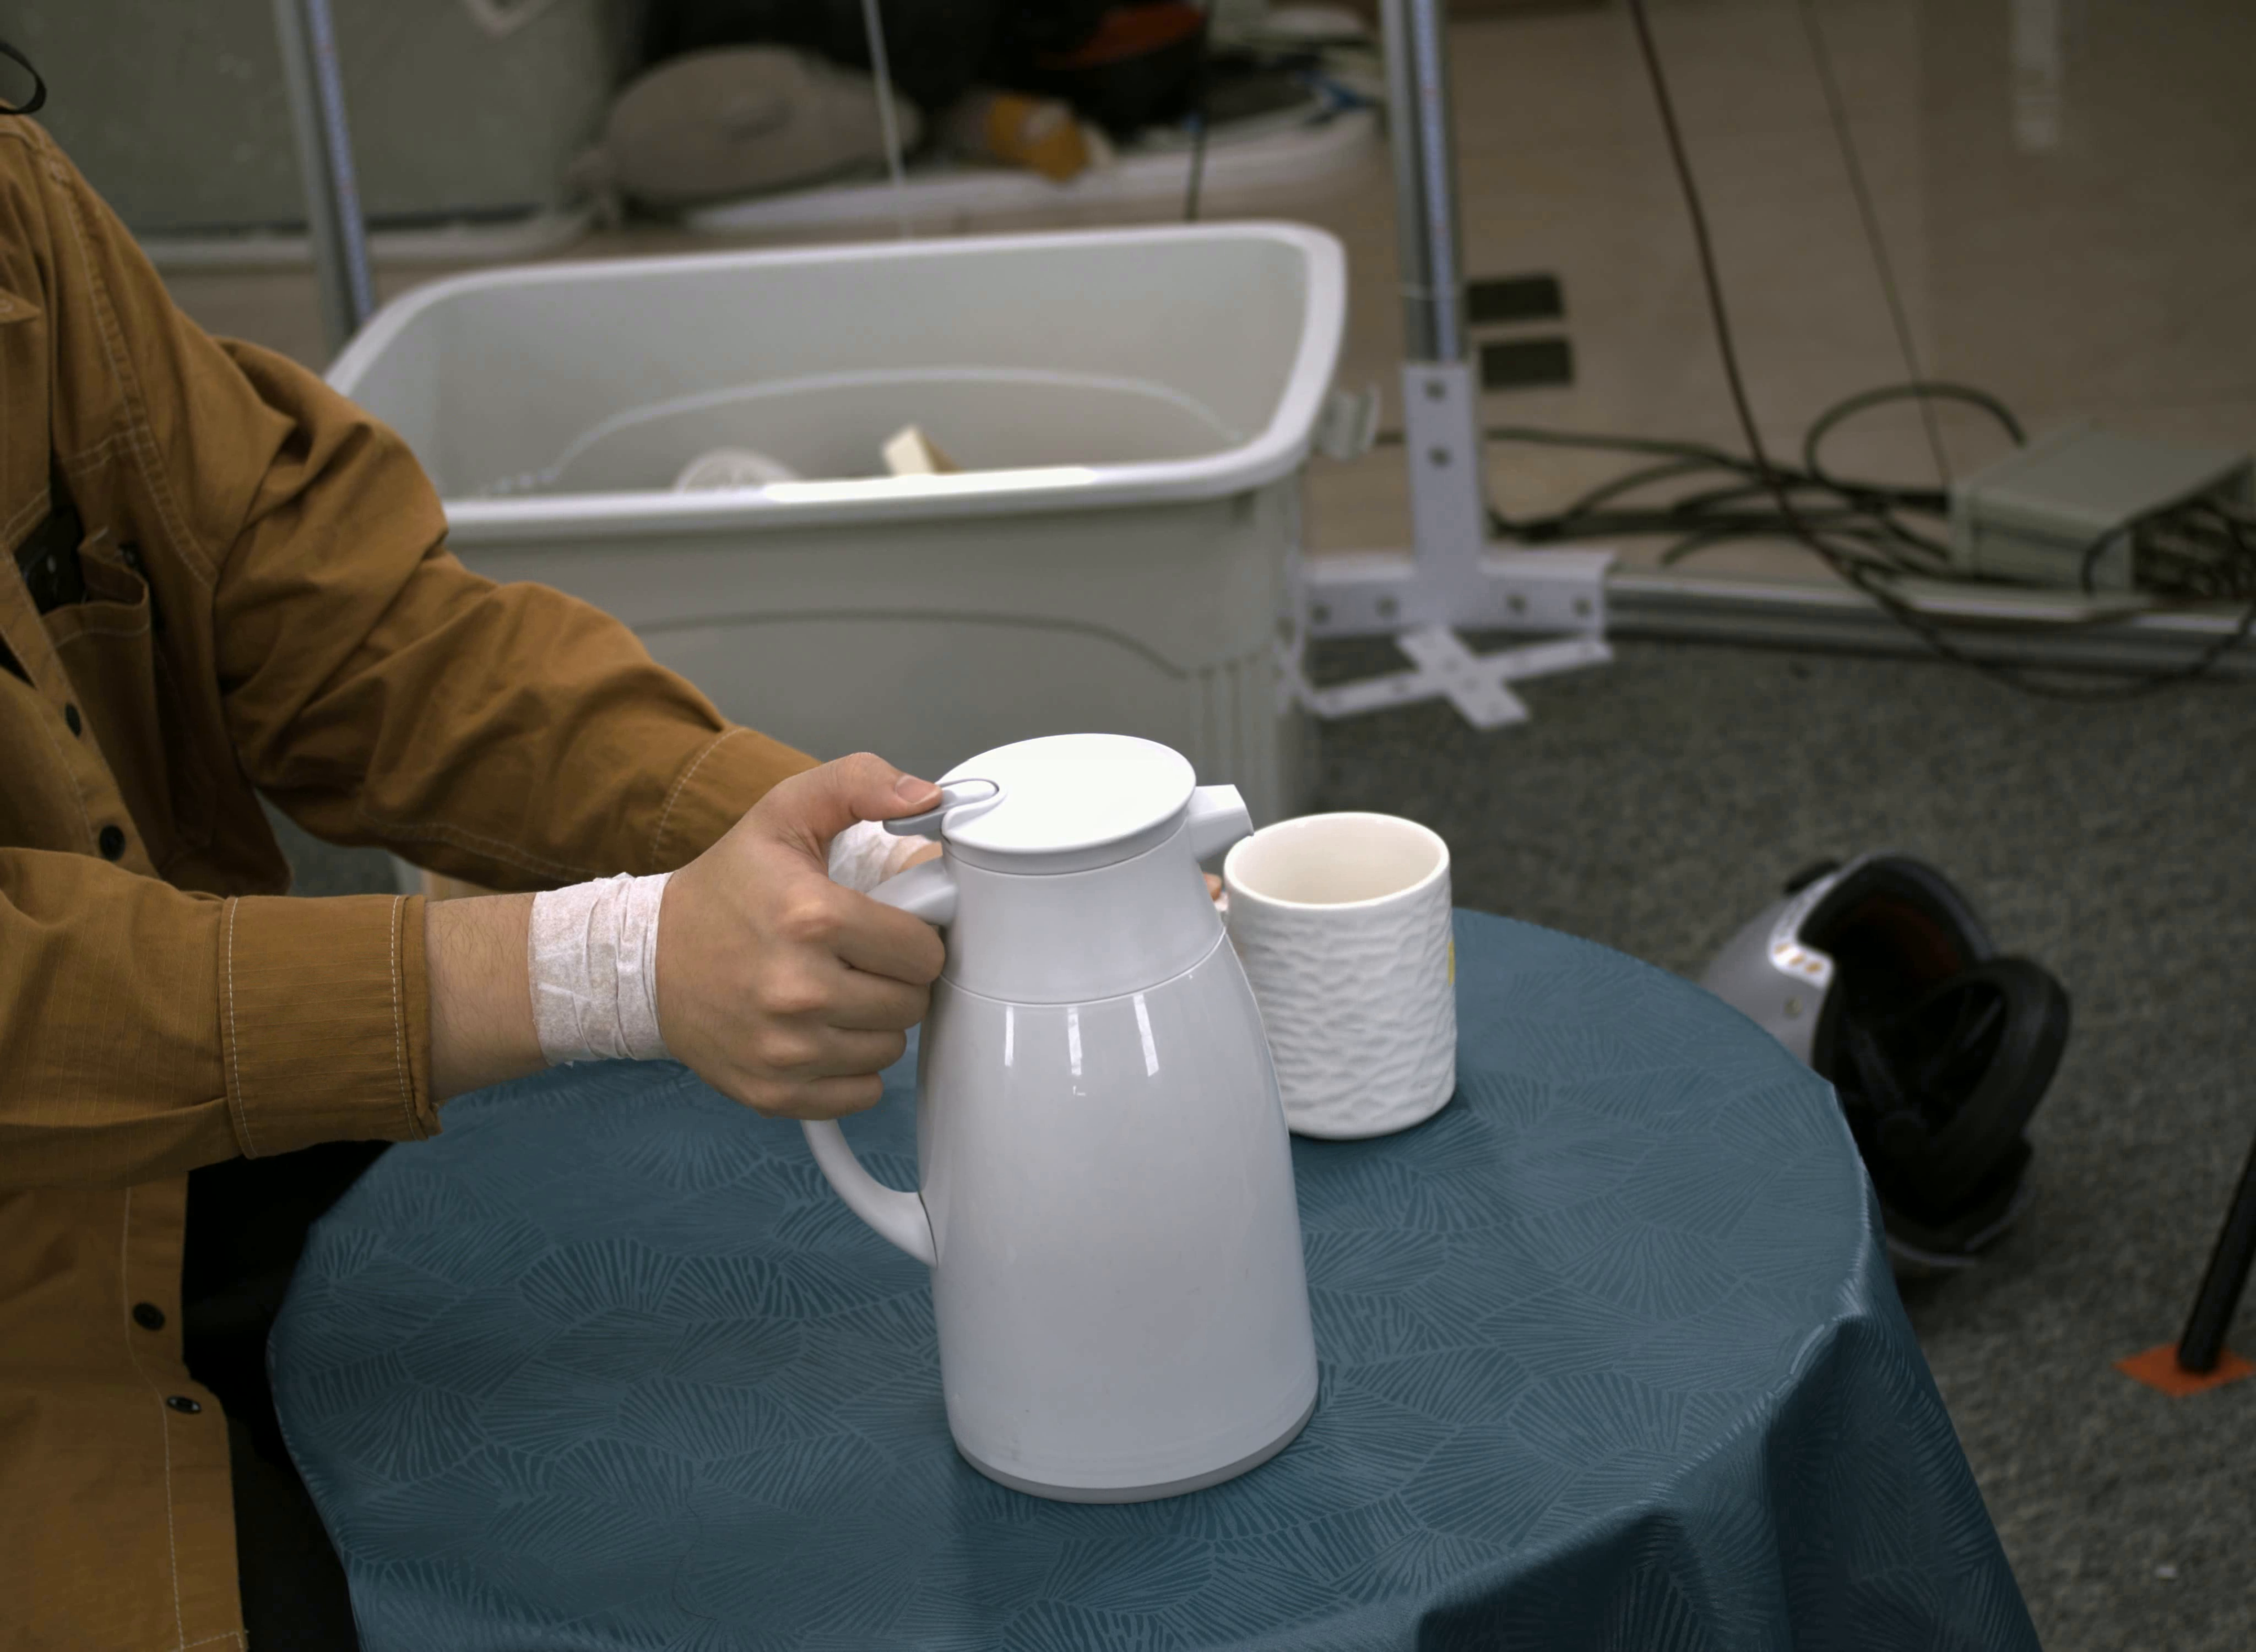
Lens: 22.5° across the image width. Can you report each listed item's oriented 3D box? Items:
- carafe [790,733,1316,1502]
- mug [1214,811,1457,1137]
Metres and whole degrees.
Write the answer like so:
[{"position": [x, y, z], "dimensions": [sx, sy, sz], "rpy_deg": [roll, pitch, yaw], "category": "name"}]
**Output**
[{"position": [-0.029, 0.097, 1.948], "dimensions": [0.167, 0.253, 0.130], "rpy_deg": [-11, 27, -9], "category": "carafe"}, {"position": [0.067, 0.057, 2.181], "dimensions": [0.118, 0.103, 0.084], "rpy_deg": [0, 25, 9], "category": "mug"}]
